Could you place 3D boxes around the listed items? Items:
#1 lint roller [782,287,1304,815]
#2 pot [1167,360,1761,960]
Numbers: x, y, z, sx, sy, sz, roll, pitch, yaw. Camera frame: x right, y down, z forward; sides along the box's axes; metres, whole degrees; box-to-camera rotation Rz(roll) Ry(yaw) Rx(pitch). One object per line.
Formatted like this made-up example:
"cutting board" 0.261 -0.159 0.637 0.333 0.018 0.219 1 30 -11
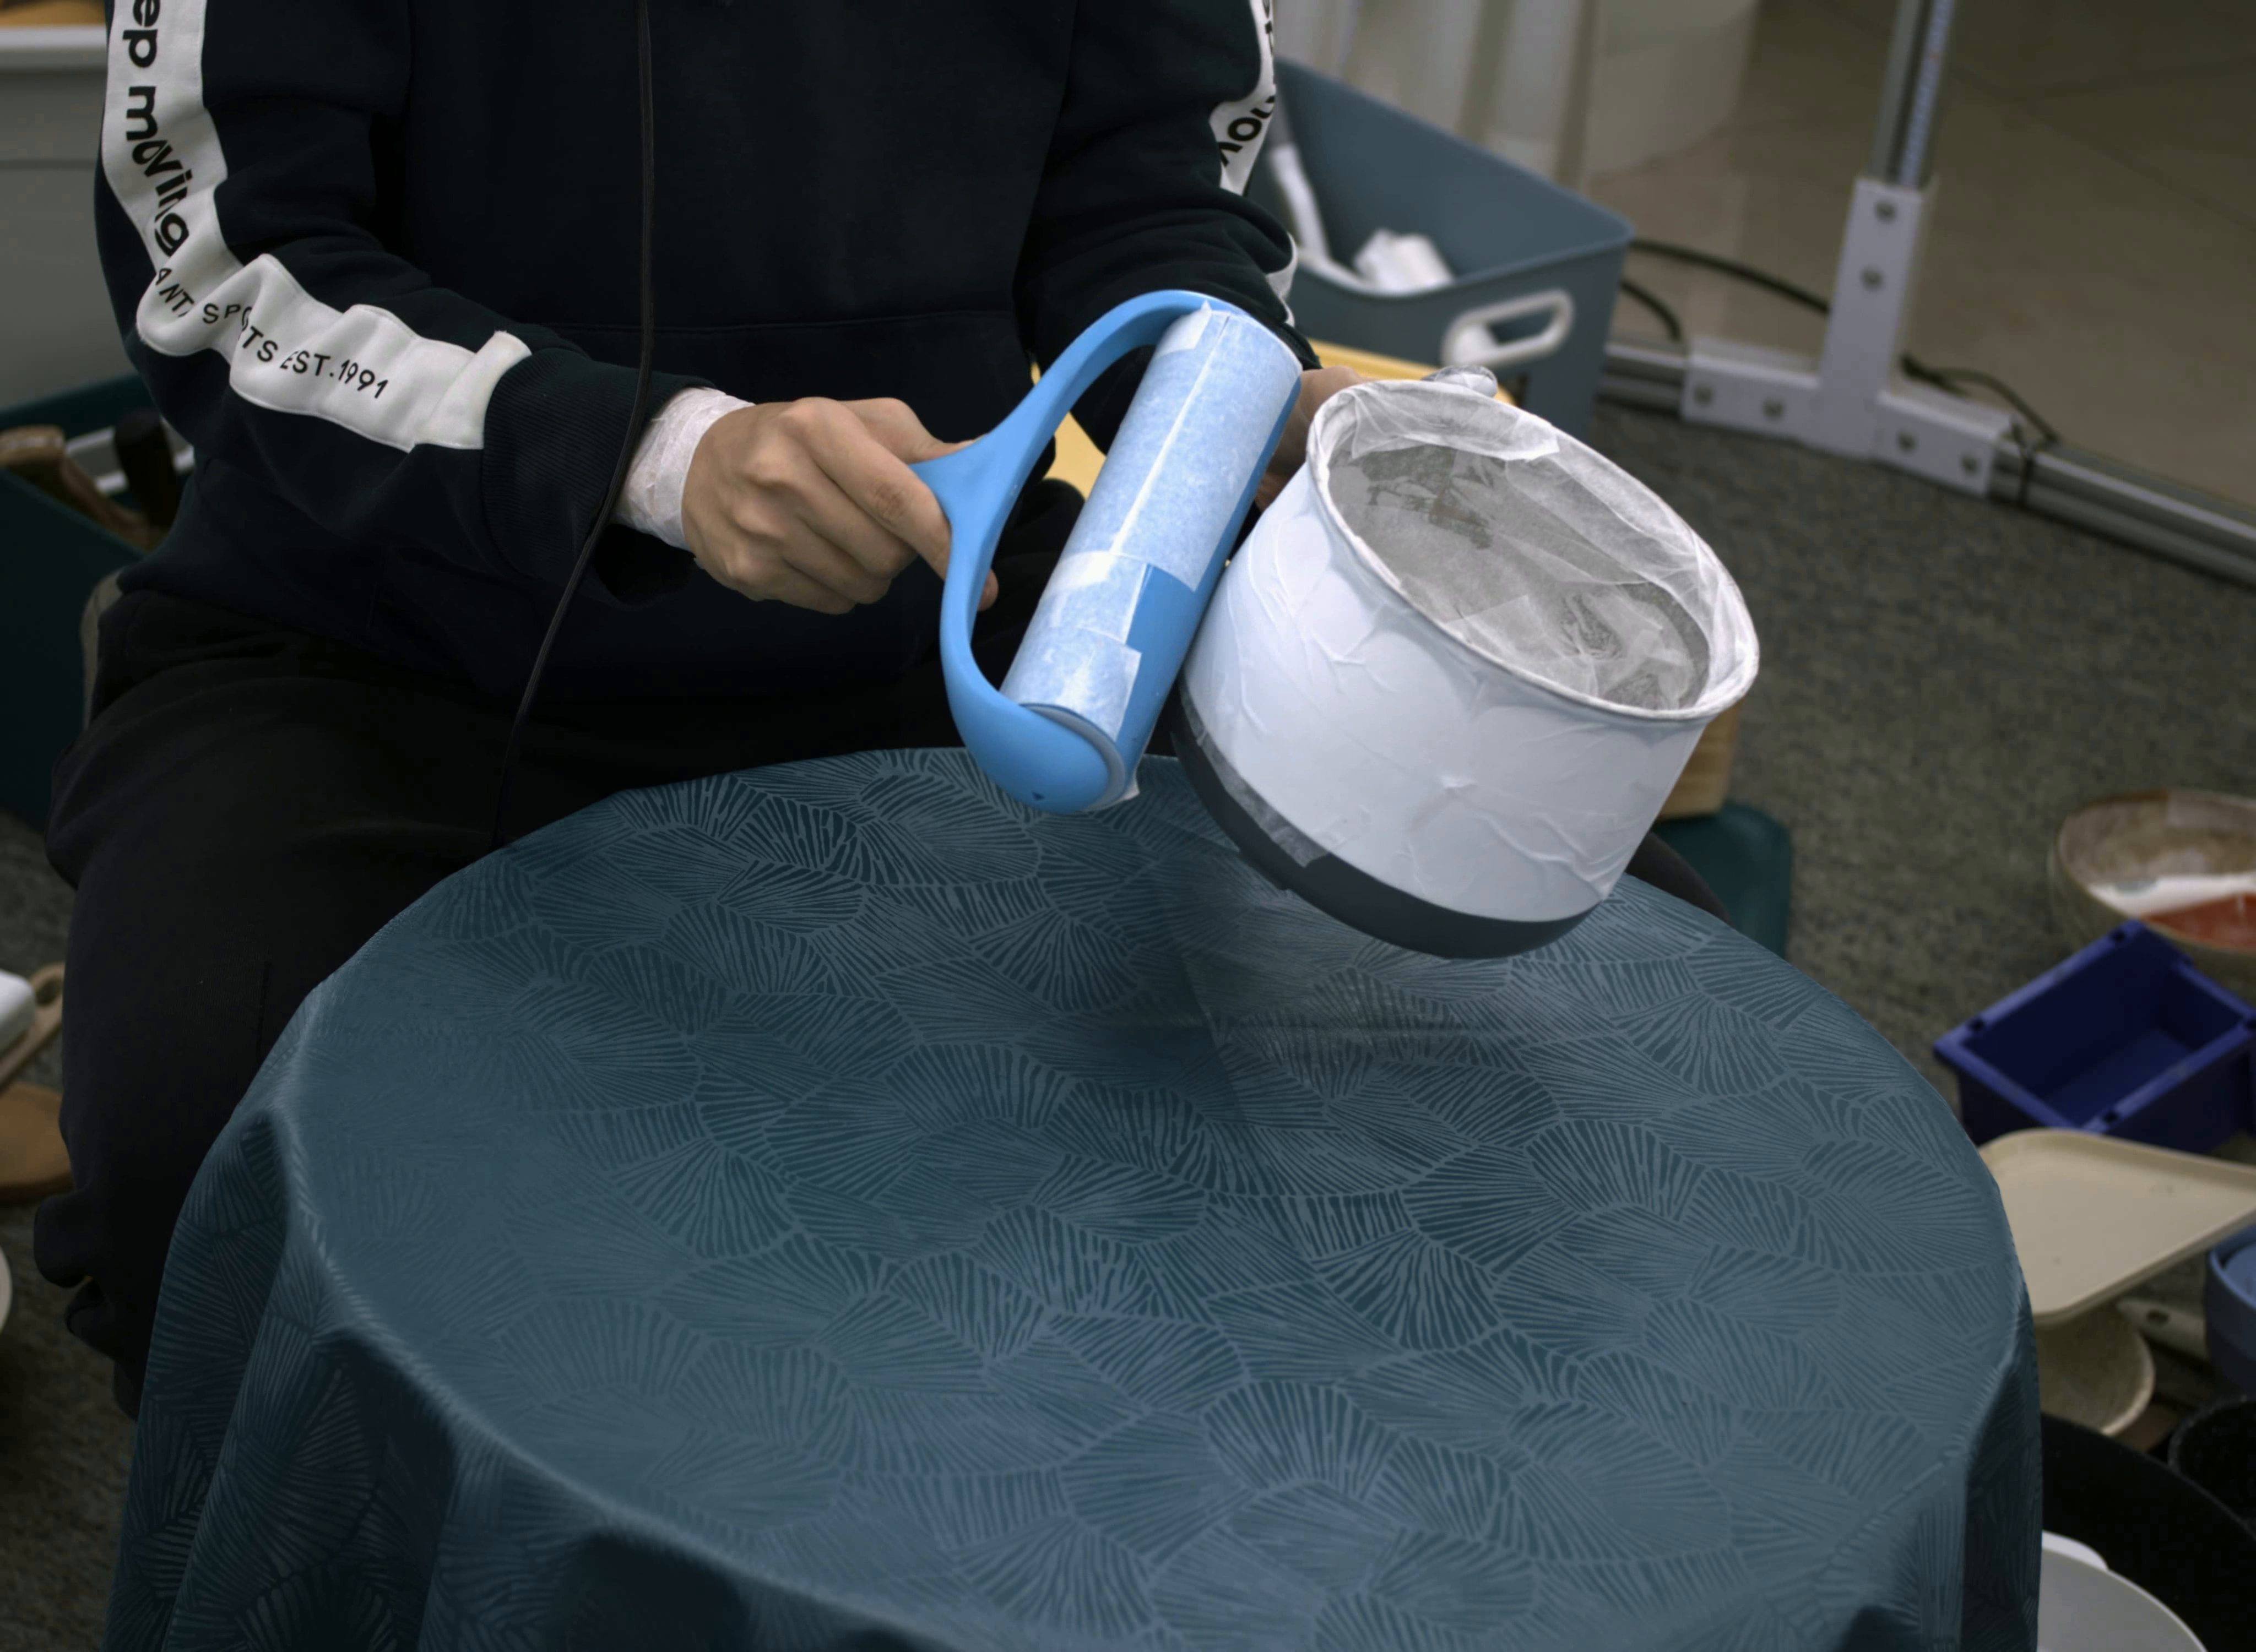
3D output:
"lint roller" -0.046 -0.100 1.875 0.180 0.067 0.230 4 51 19
"pot" 0.108 -0.069 1.878 0.177 0.136 0.236 16 35 -23
